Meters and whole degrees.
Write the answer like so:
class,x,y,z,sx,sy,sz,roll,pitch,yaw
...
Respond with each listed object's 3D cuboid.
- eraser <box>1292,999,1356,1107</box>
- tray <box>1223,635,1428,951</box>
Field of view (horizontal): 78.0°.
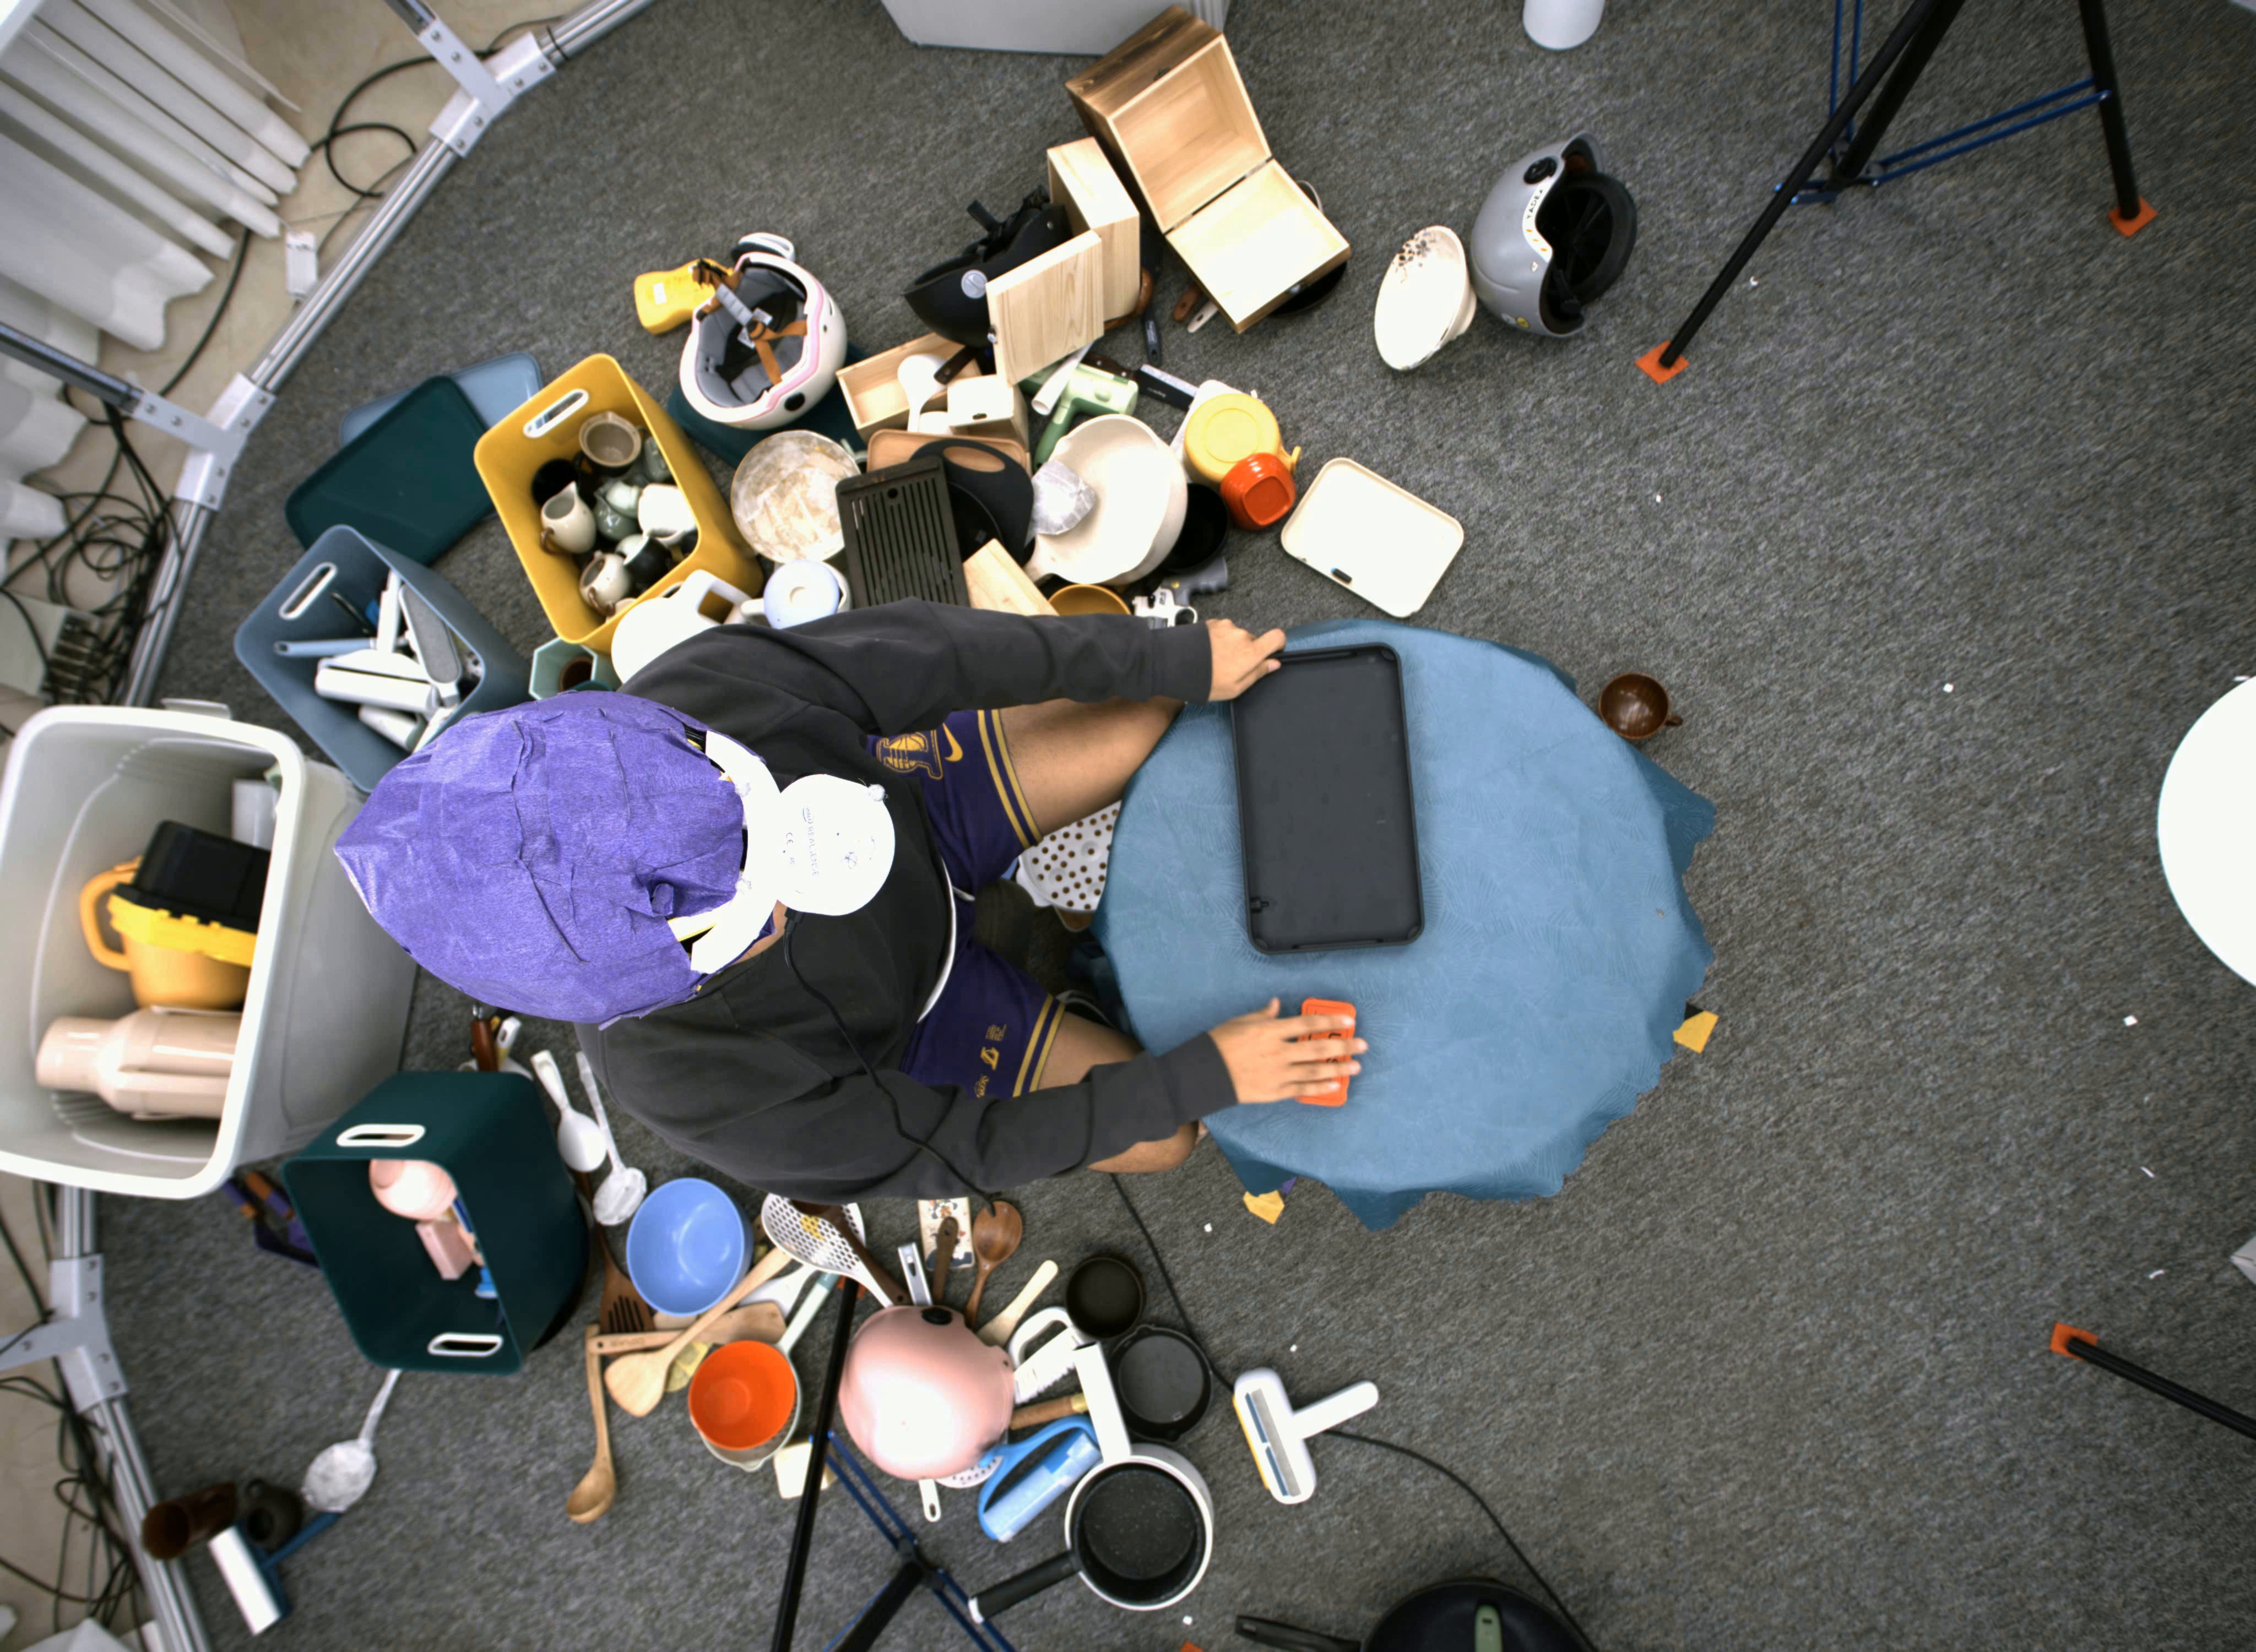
class,x,y,z,sx,sy,sz,roll,pitch,yaw
eraser,0.205,0.235,1.447,0.059,0.023,0.108,5,89,18
tray,0.207,-0.034,1.453,0.185,0.037,0.317,-6,88,11
